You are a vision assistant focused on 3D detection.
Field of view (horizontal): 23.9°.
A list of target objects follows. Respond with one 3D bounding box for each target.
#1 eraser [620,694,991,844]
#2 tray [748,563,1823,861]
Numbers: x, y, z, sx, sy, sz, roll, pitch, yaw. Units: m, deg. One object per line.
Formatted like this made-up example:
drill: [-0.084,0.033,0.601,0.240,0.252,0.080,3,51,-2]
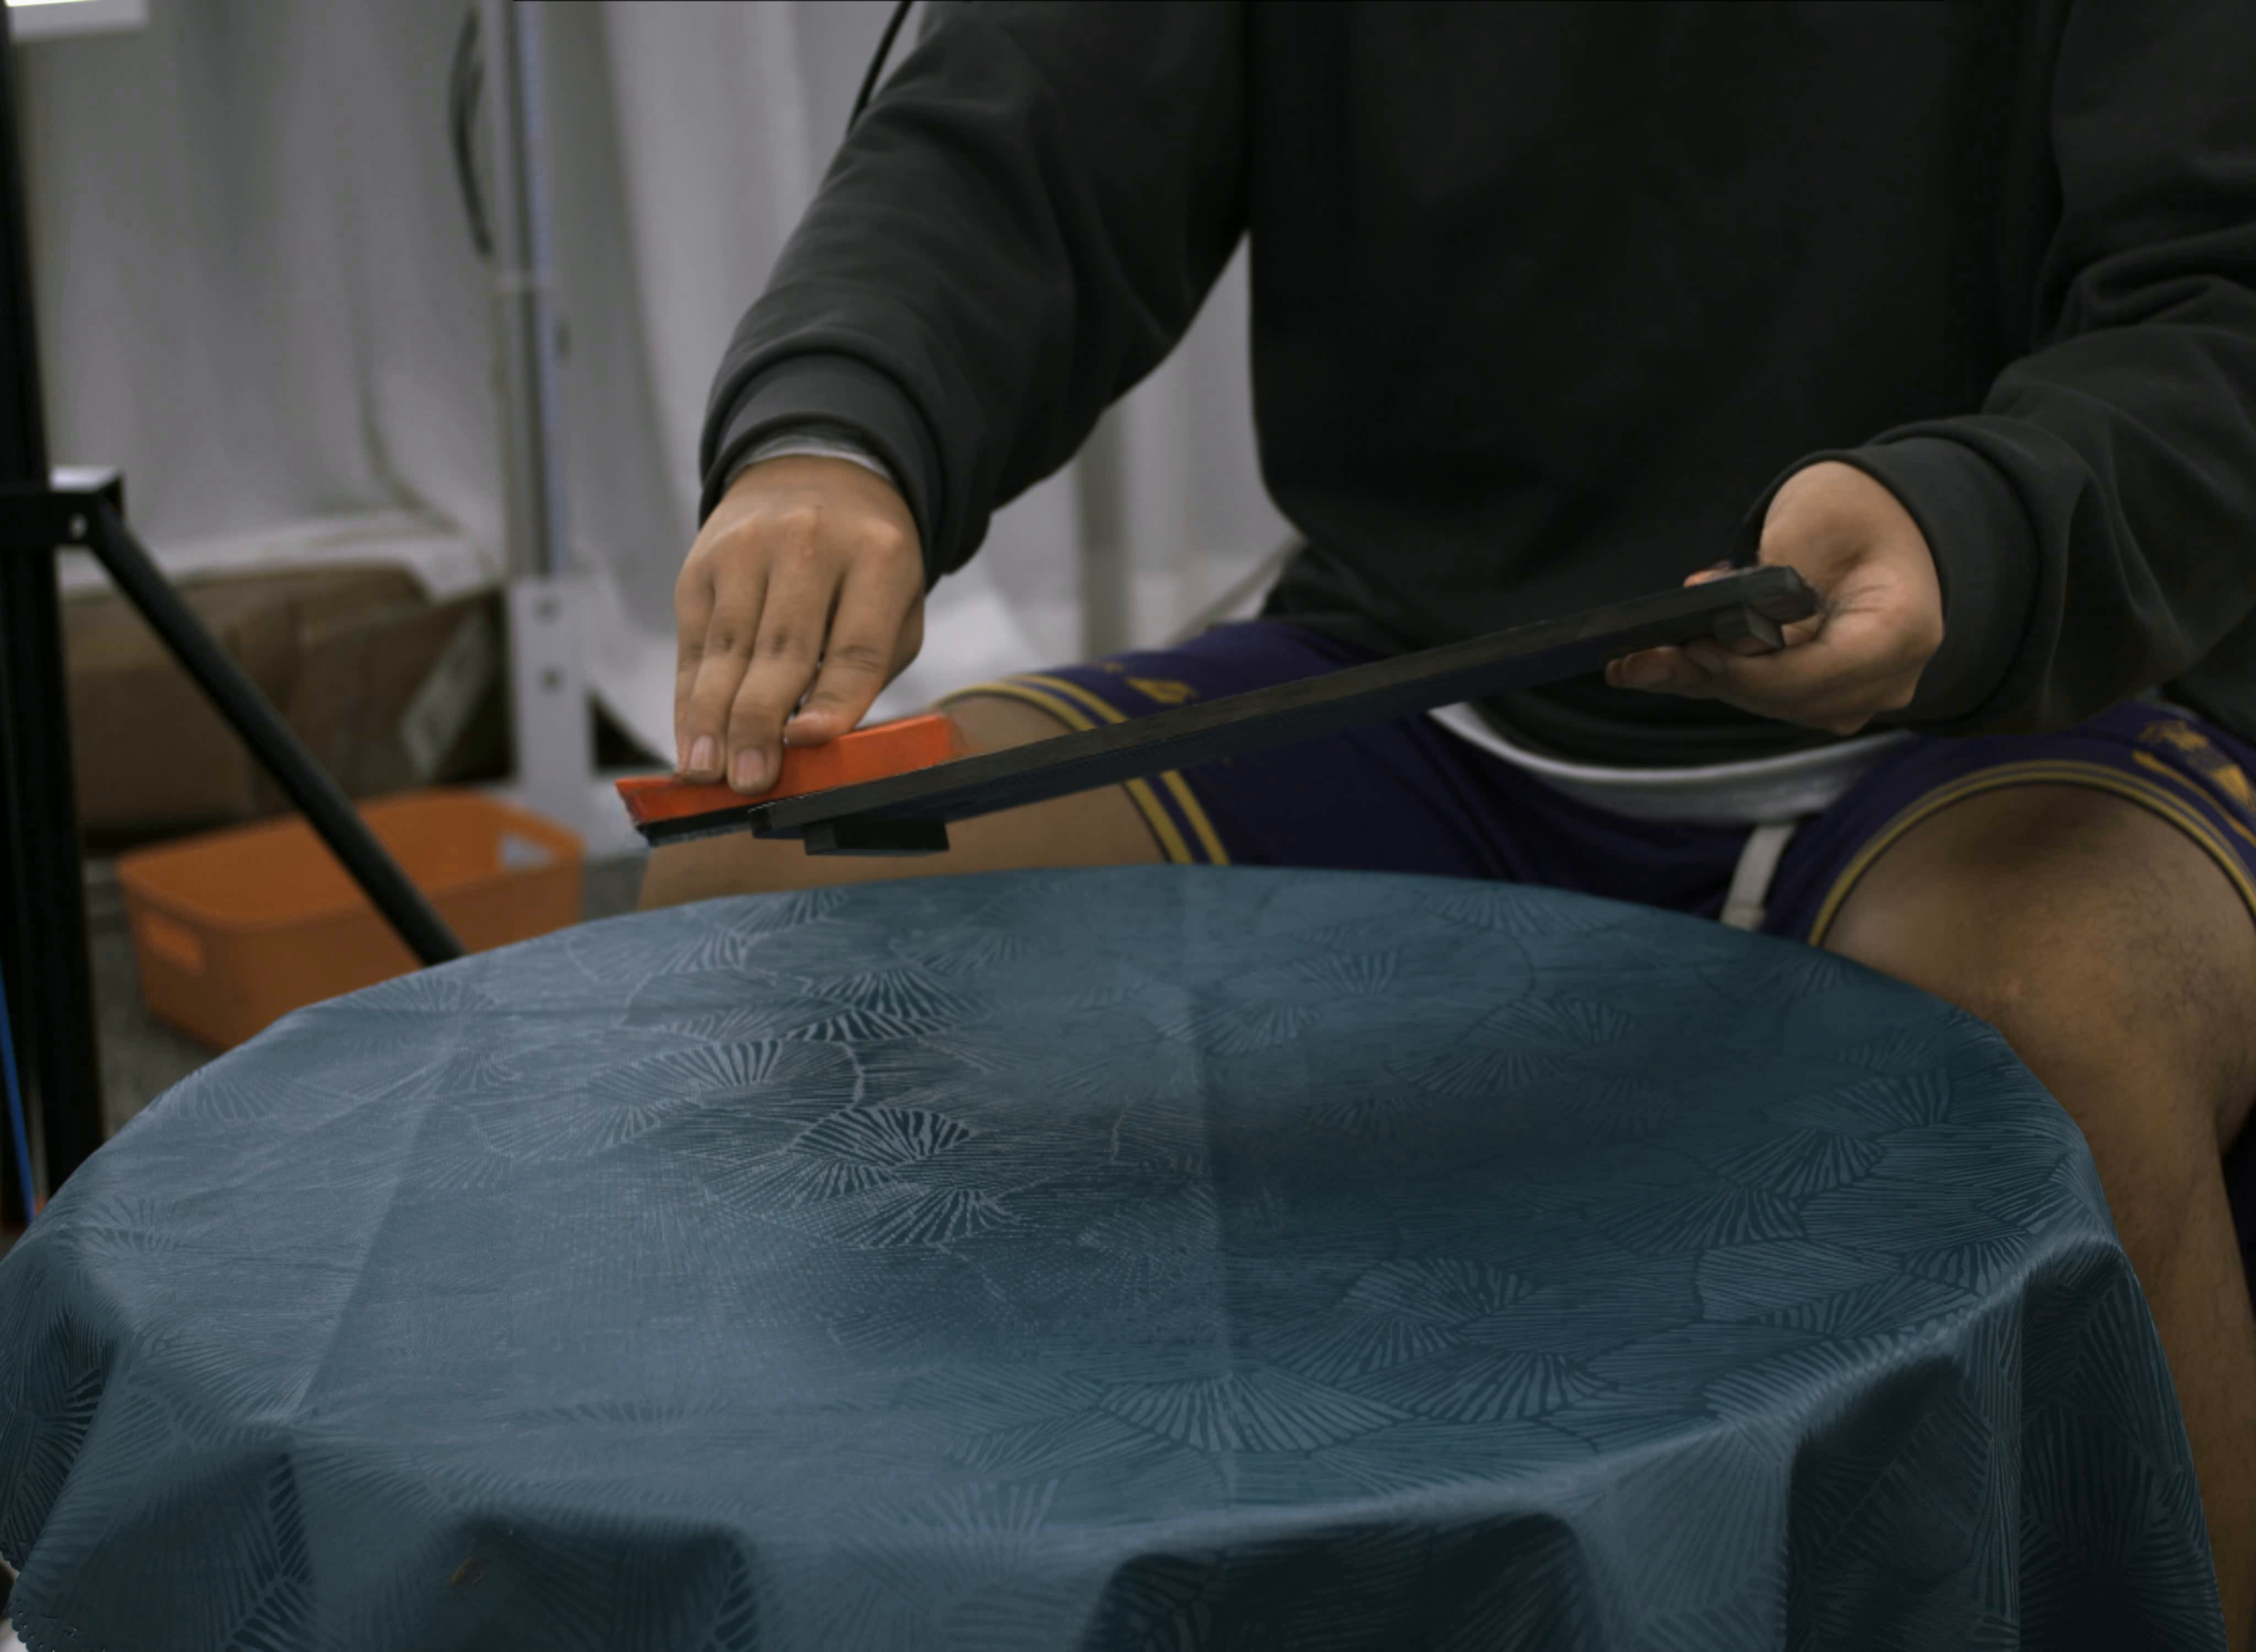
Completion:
eraser: [-0.100,-0.018,1.658,0.109,0.023,0.058,-12,4,19]
tray: [0.051,-0.029,1.558,0.307,0.019,0.168,-13,-3,12]
